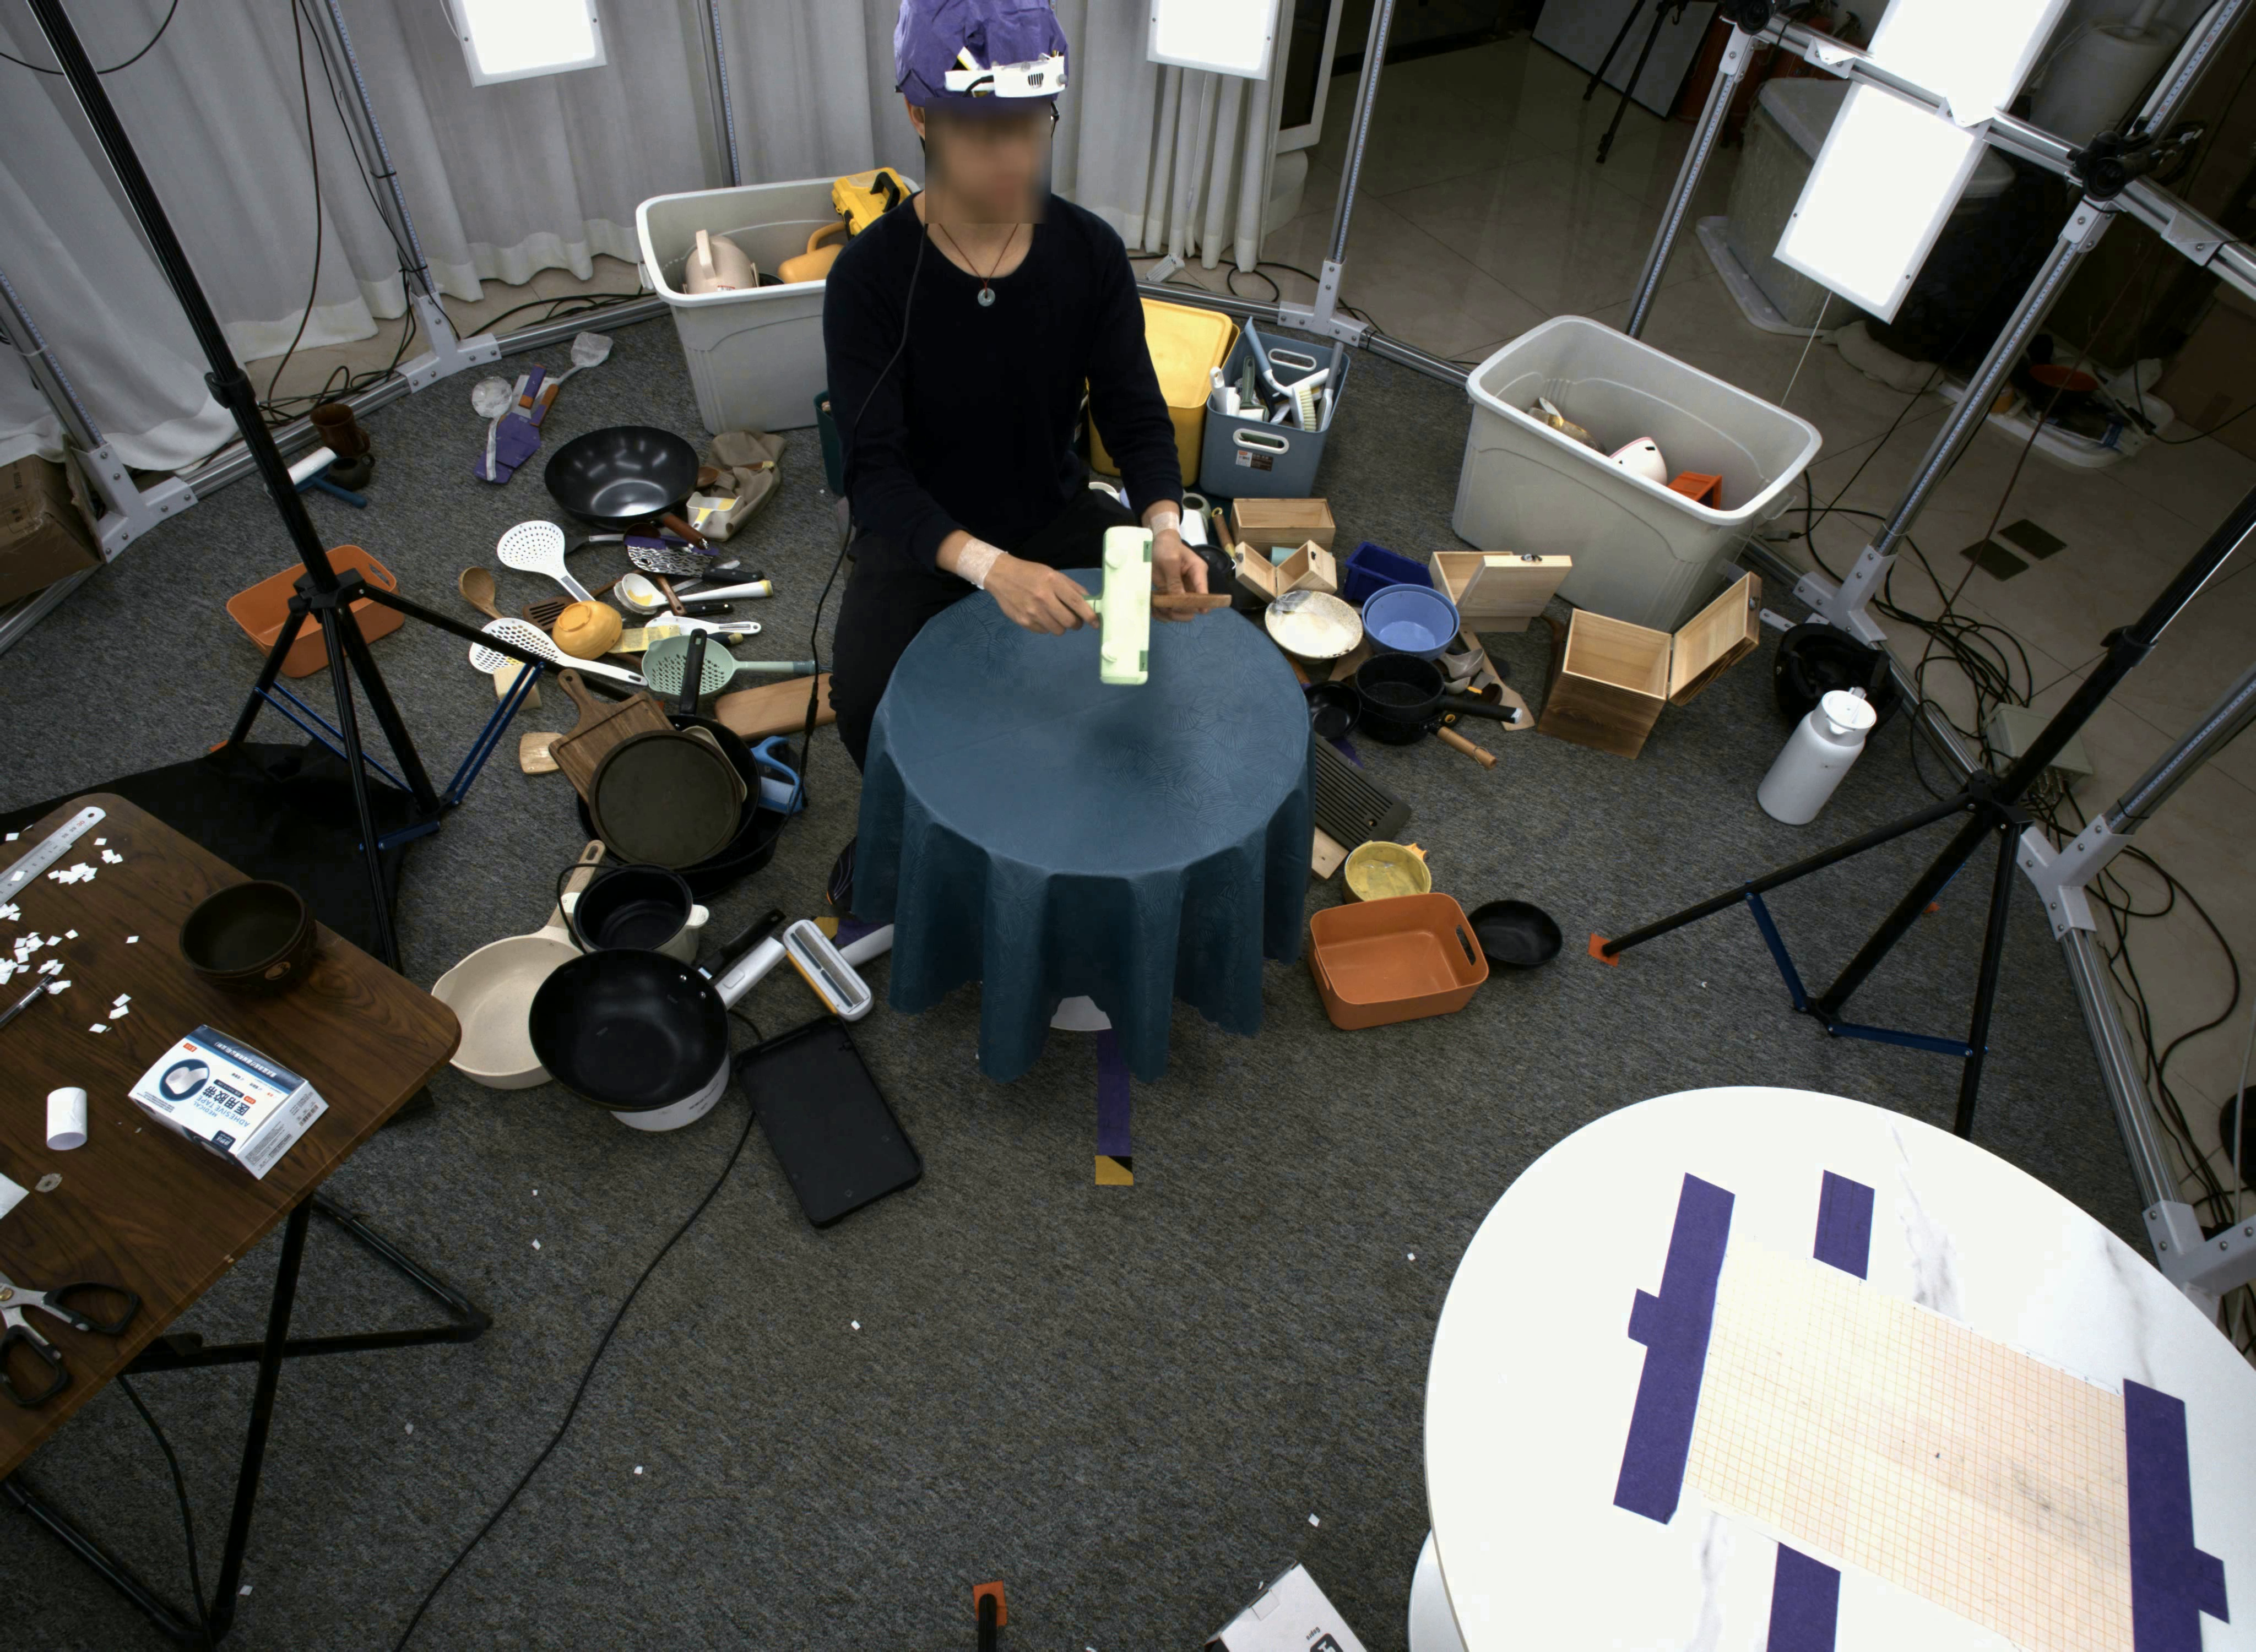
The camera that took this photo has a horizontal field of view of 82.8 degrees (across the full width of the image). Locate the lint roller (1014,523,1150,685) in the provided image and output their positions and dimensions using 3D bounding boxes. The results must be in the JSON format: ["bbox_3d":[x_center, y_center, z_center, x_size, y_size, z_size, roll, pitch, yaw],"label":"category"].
[{"bbox_3d":[-0.063,-0.277,1.607,0.183,0.082,0.198,2,92,12],"label":"lint roller"}]

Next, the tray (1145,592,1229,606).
[{"bbox_3d":[0.047,-0.295,1.662,0.101,0.020,0.233,-3,10,-25],"label":"tray"}]
